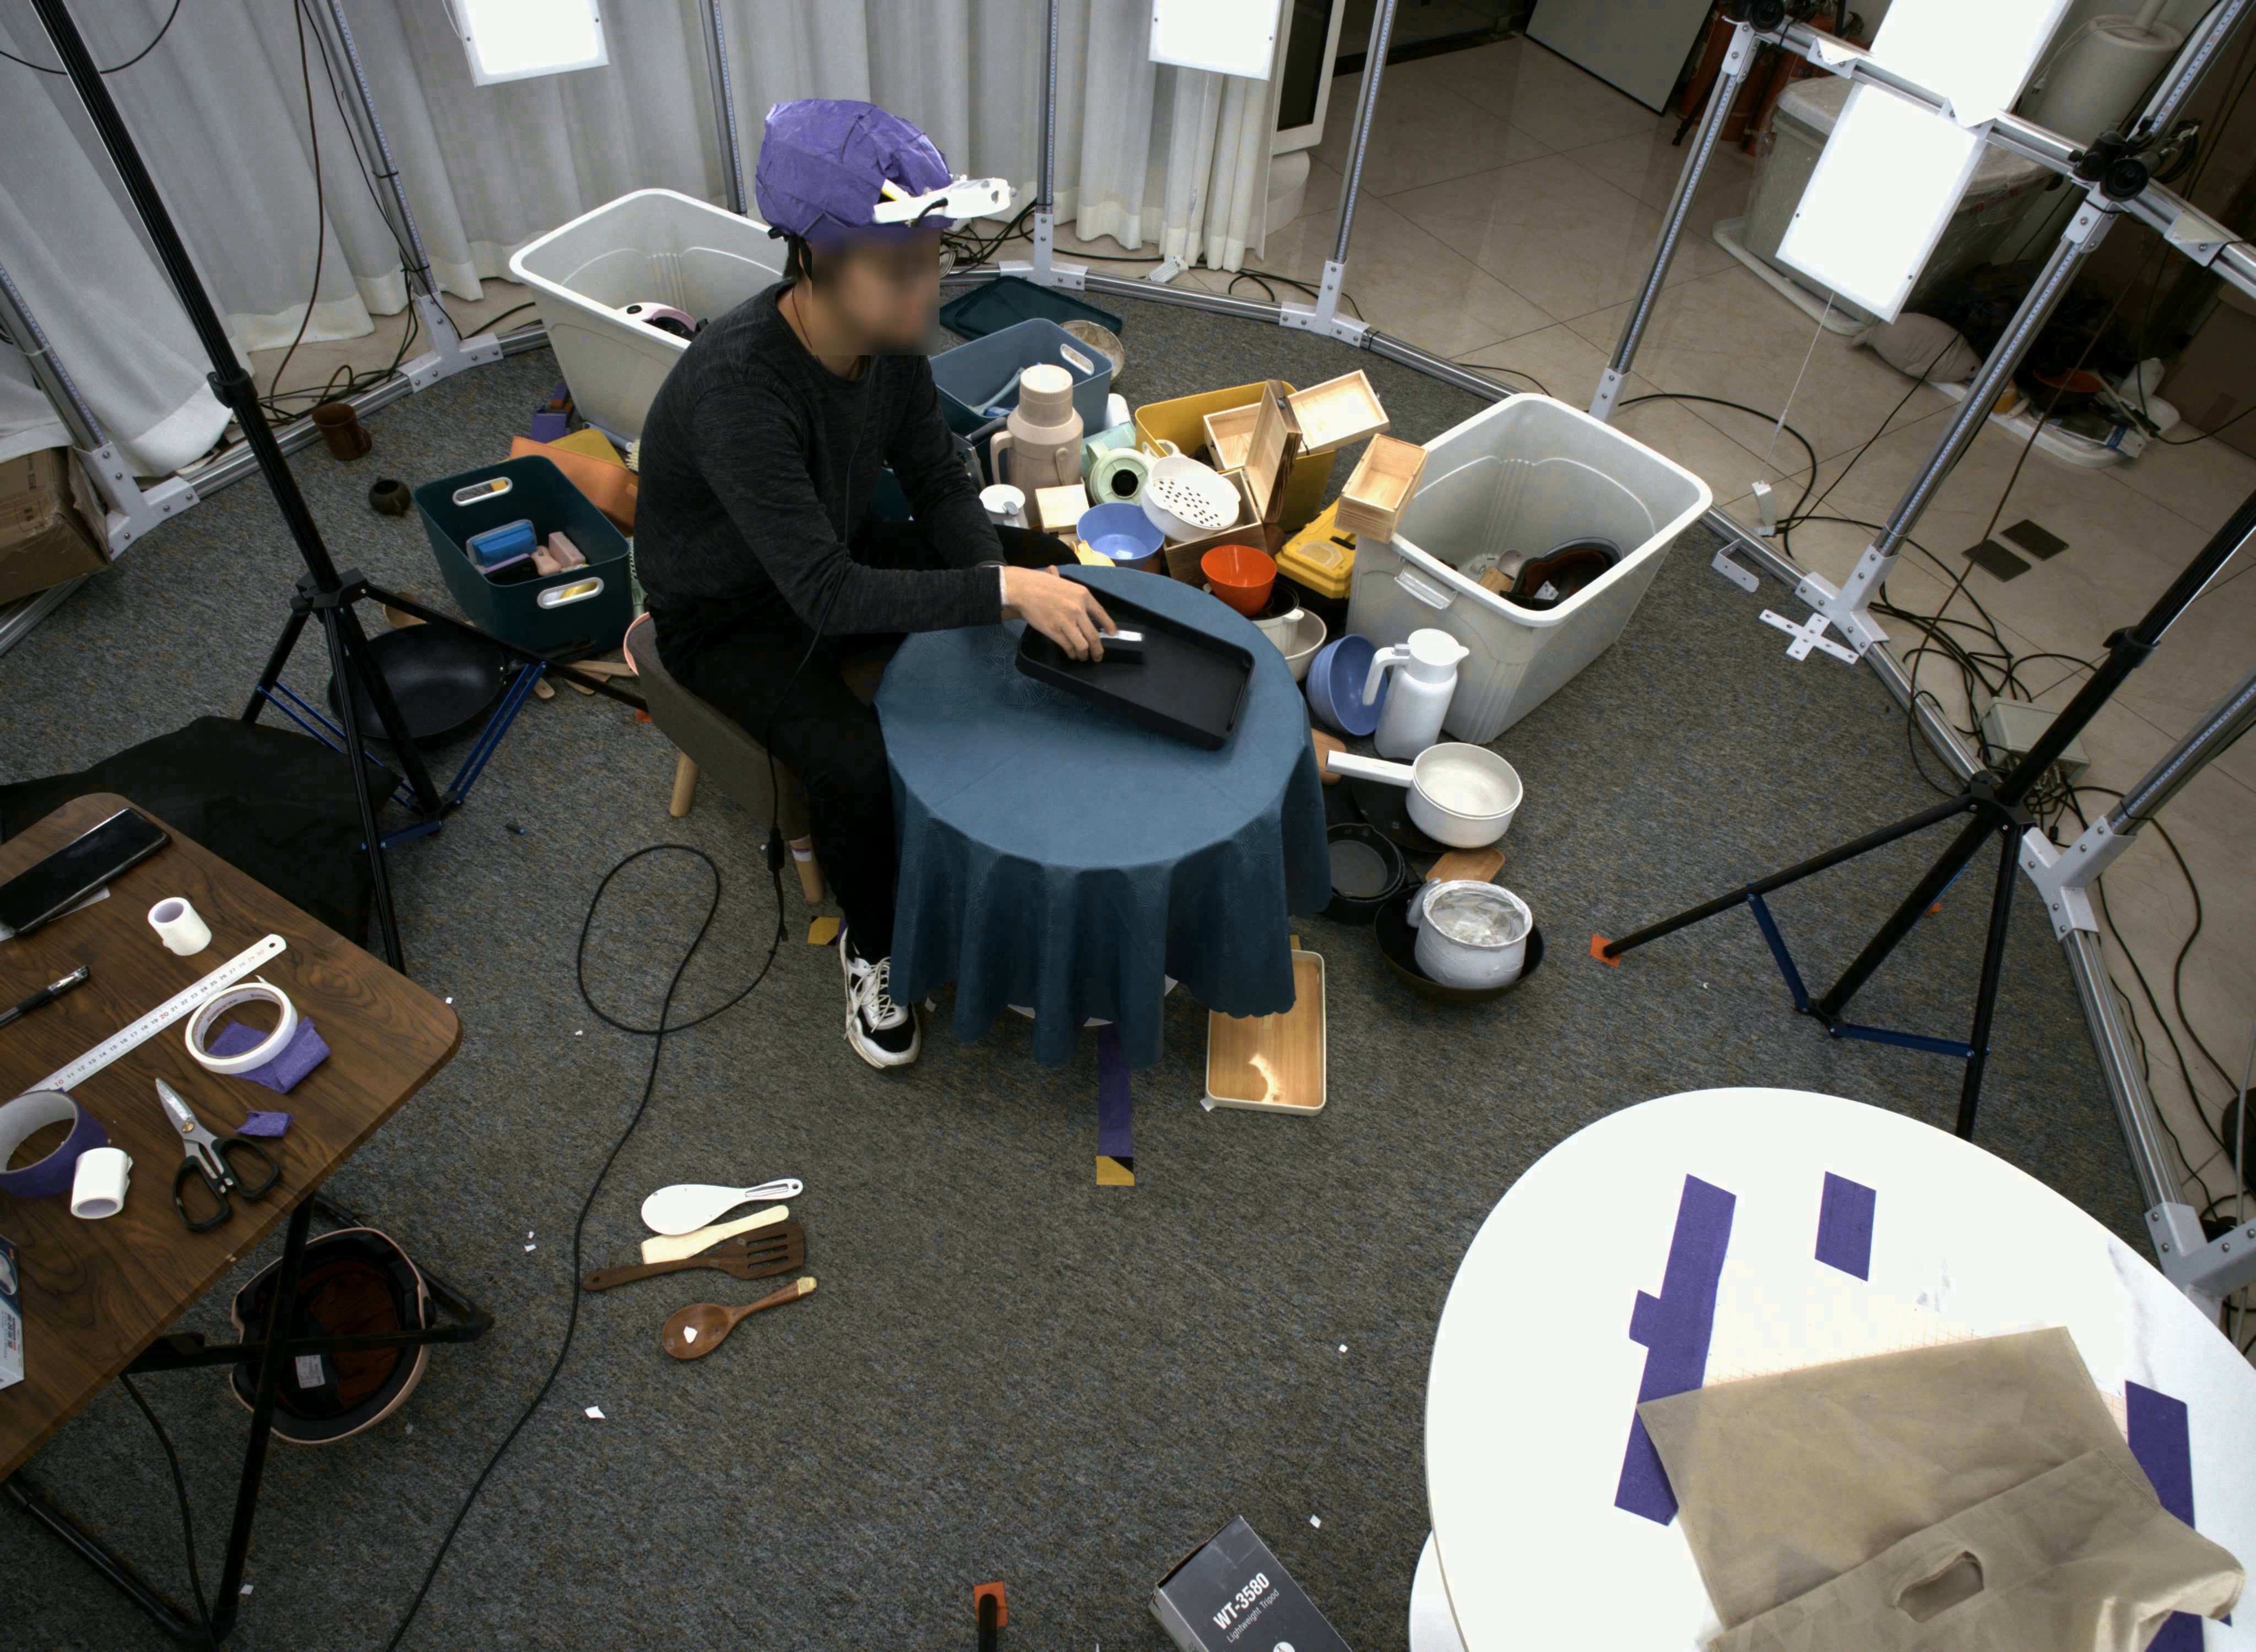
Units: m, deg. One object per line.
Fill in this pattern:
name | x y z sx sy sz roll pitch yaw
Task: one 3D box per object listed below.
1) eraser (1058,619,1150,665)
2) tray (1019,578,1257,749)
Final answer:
eraser | -0.034 -0.259 1.803 0.125 0.030 0.055 3 54 -22
tray | 0.017 -0.230 1.807 0.317 0.036 0.188 20 50 -2
